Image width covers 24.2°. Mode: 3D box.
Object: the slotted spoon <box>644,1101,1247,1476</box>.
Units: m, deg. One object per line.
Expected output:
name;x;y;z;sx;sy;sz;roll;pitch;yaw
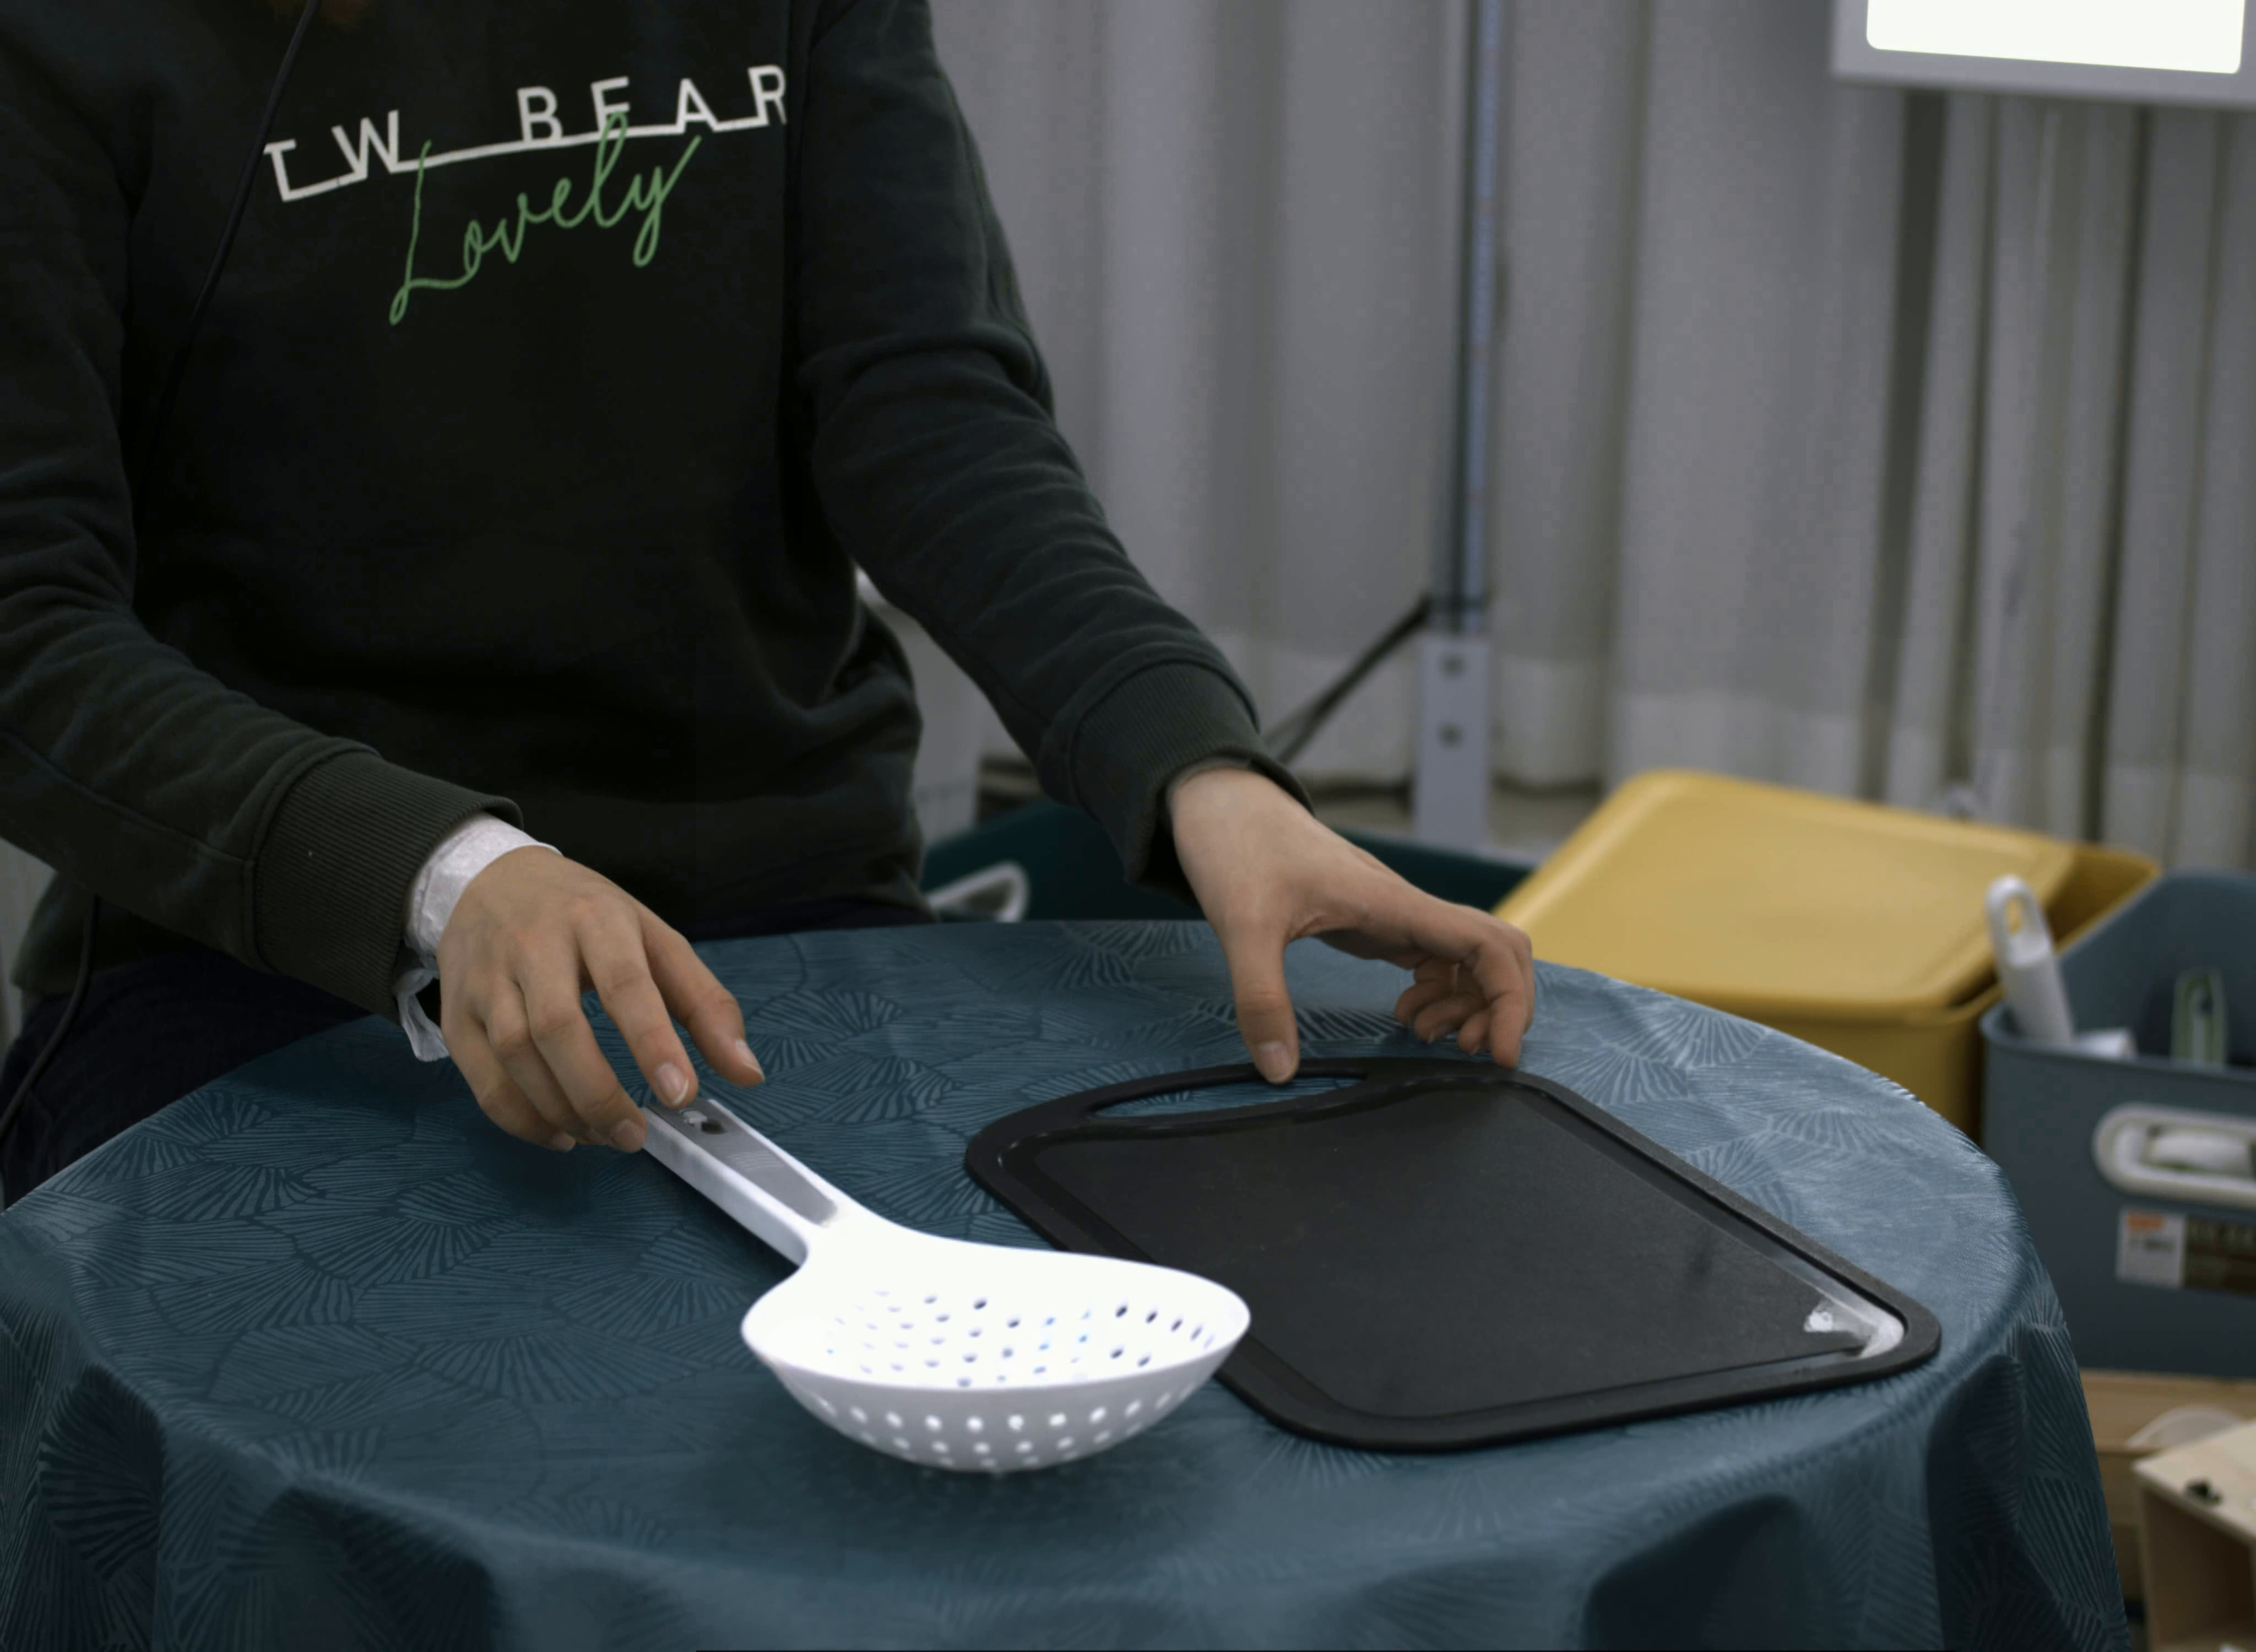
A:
slotted spoon;-0.077;0.122;1.505;0.136;0.046;0.346;-4;15;-22

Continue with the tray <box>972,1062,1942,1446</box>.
tray;0.088;0.121;1.589;0.212;0.010;0.321;-6;17;-23
